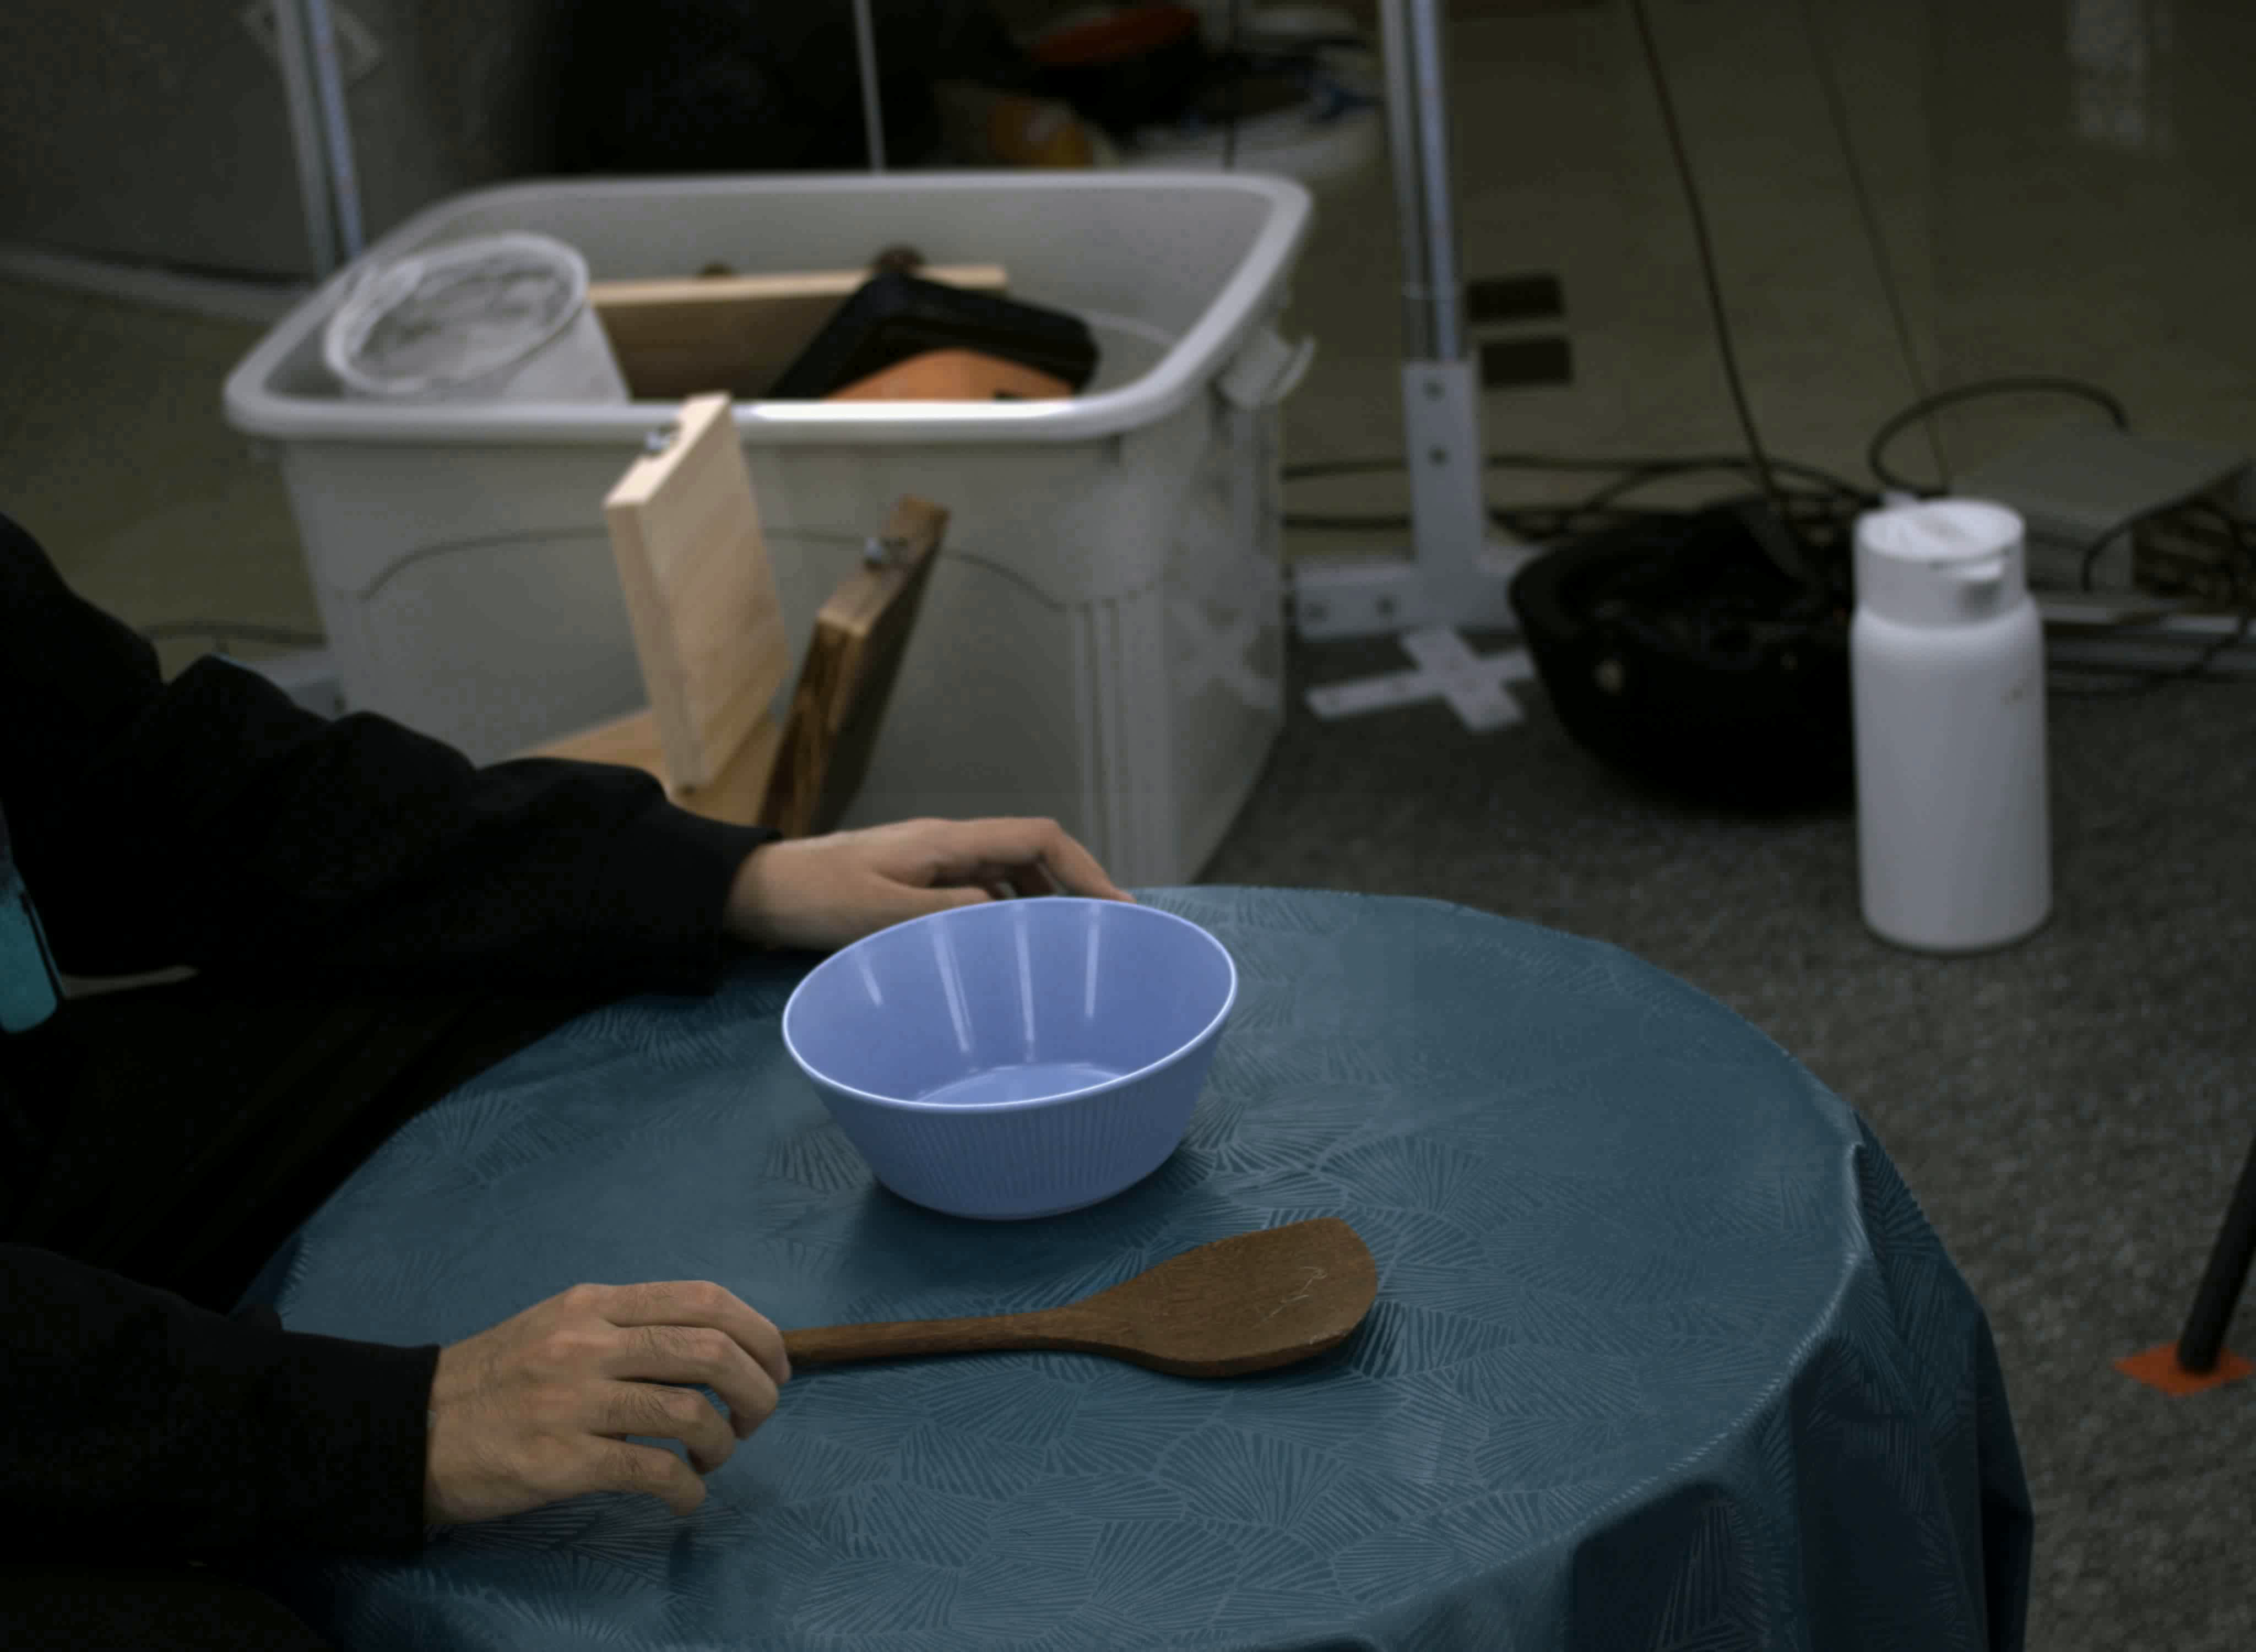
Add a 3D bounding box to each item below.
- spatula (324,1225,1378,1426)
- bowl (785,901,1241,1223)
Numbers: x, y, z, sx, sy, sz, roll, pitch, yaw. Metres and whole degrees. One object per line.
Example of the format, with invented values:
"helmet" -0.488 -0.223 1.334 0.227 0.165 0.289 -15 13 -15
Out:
"spatula" -0.101 0.188 2.056 0.385 0.016 0.095 -6 25 2
"bowl" -0.040 0.096 2.172 0.176 0.071 0.173 -7 25 3
